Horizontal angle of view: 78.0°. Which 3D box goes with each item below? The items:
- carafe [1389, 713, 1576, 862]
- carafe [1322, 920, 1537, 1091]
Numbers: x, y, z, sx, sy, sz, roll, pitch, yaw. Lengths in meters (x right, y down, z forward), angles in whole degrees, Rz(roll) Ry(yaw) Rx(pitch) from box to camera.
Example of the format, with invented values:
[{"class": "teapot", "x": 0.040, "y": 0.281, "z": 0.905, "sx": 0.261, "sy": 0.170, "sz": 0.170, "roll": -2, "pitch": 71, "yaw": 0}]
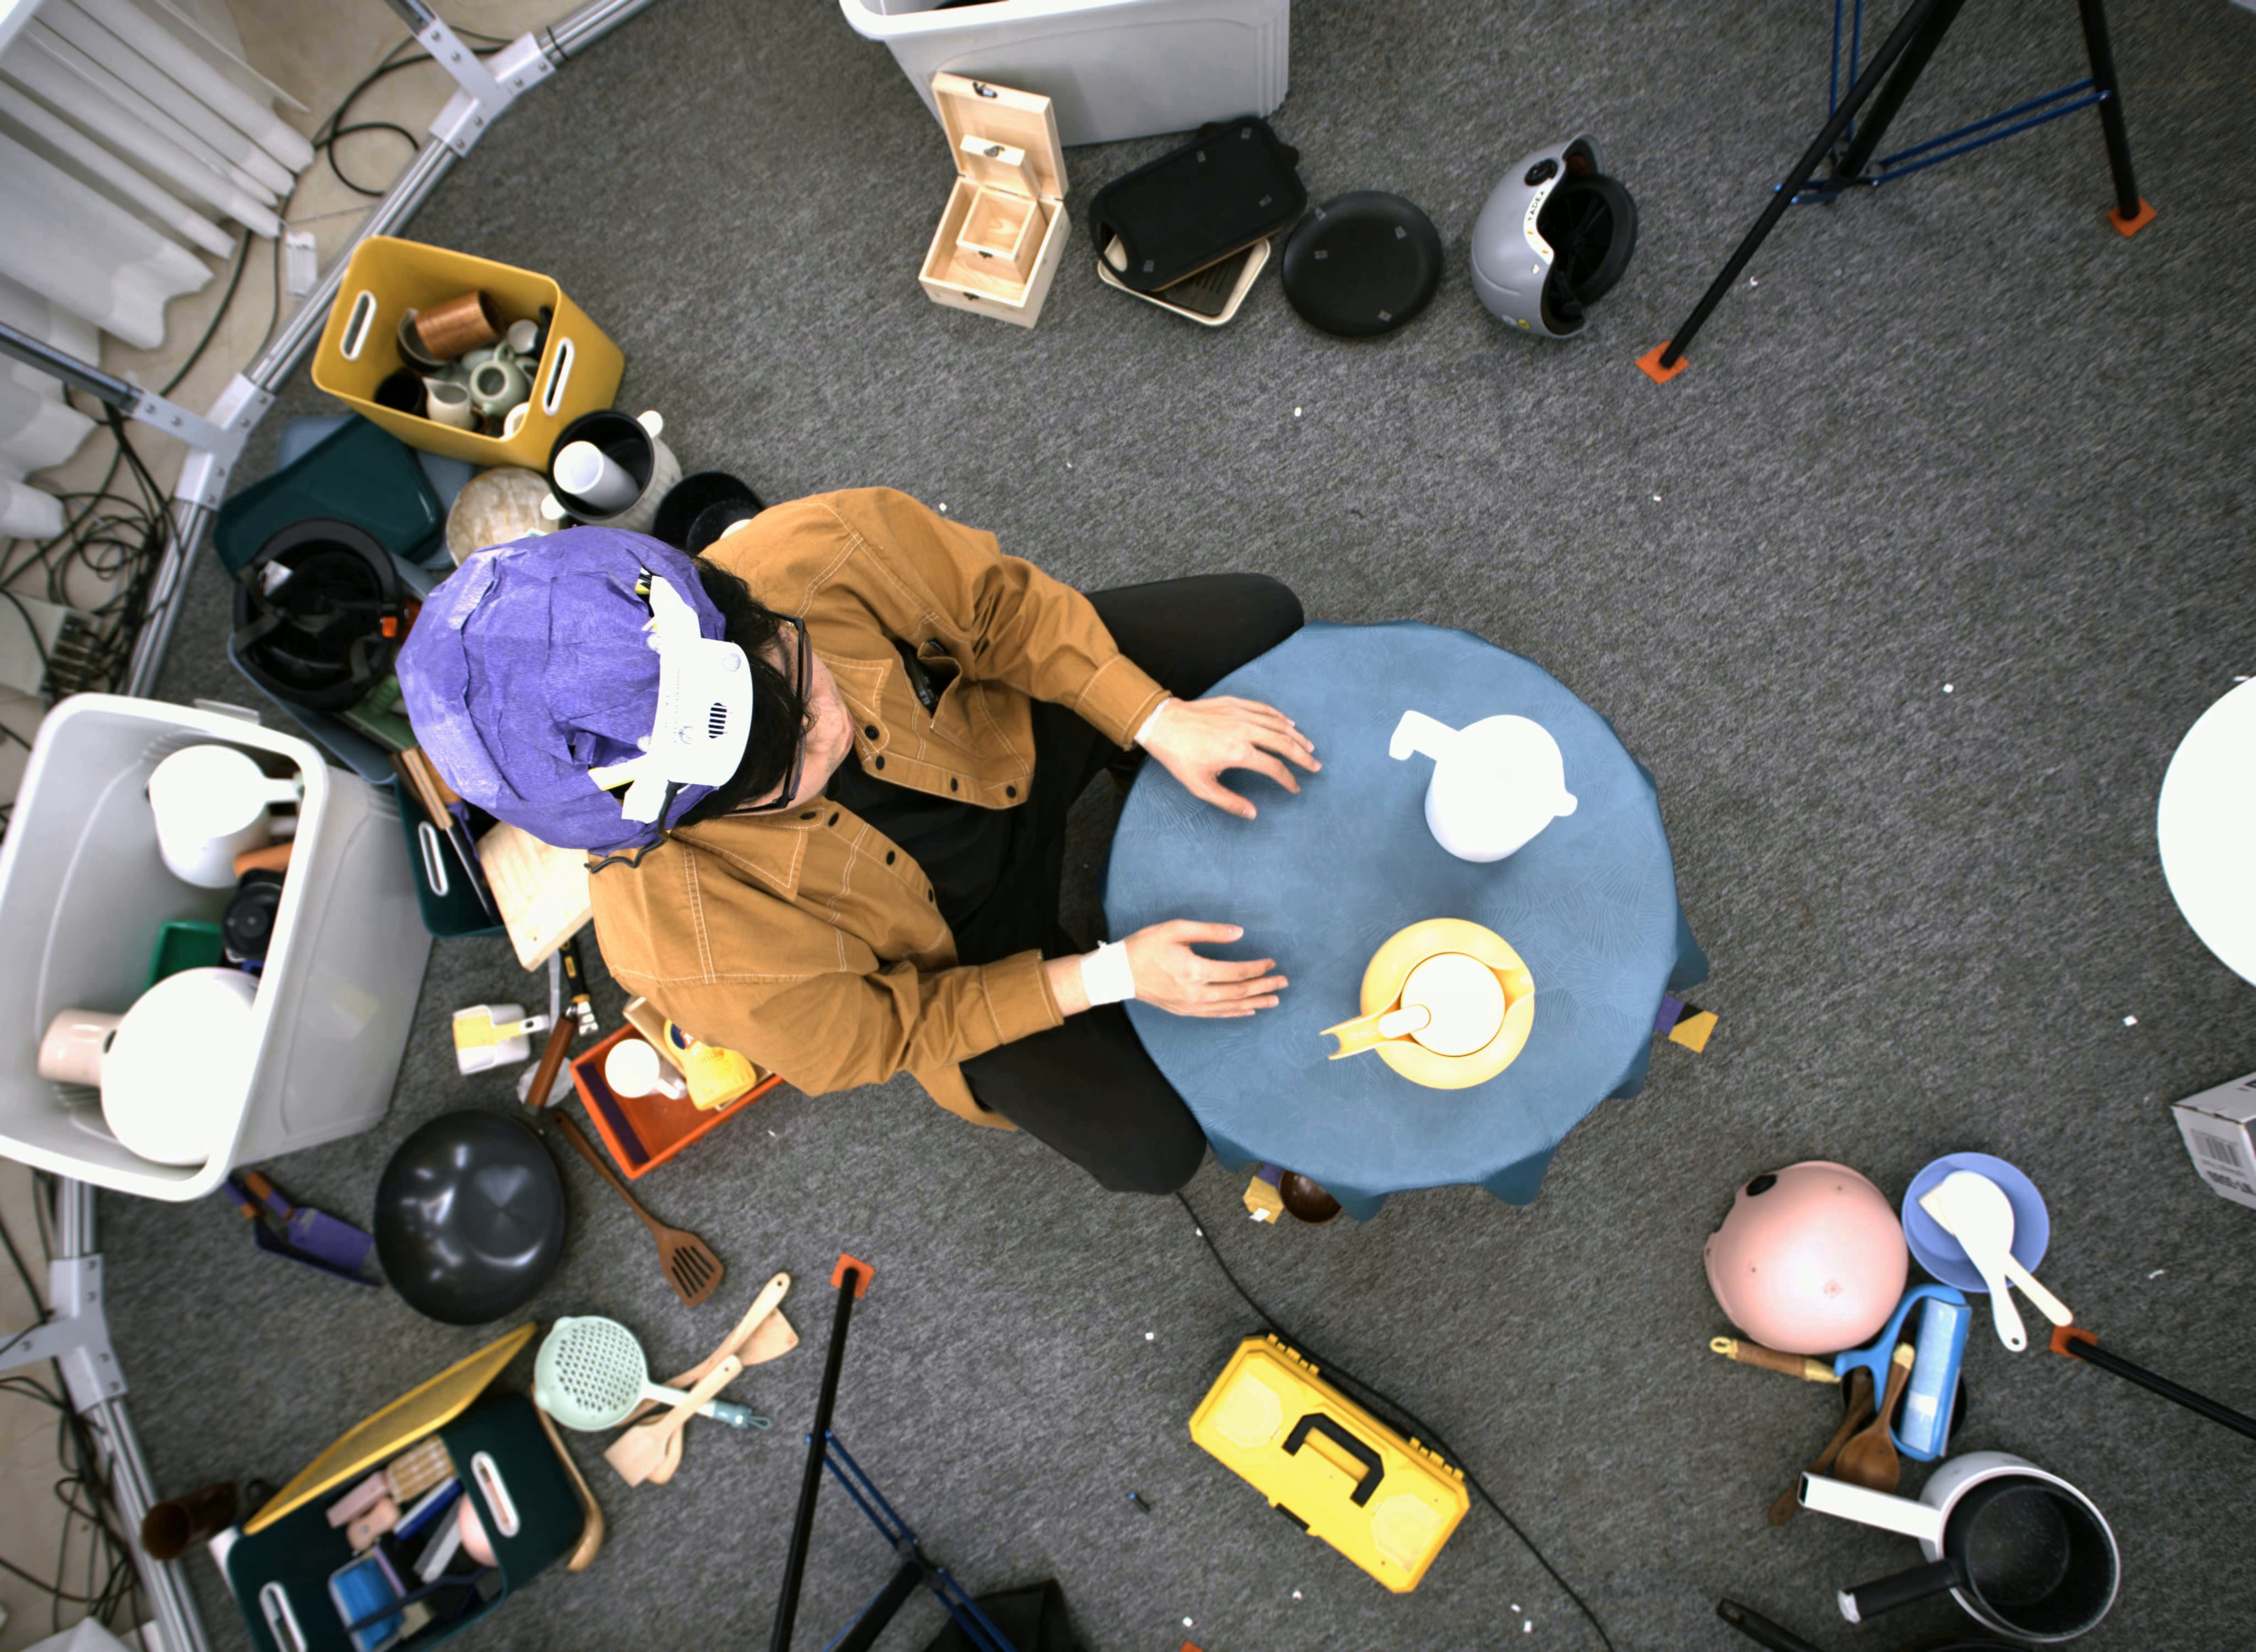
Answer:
[{"class": "carafe", "x": 0.333, "y": -0.041, "z": 1.319, "sx": 0.172, "sy": 0.268, "sz": 0.124, "roll": 28, "pitch": 92, "yaw": 12}, {"class": "carafe", "x": 0.285, "y": 0.174, "z": 1.320, "sx": 0.203, "sy": 0.261, "sz": 0.162, "roll": -18, "pitch": 79, "yaw": 7}]
